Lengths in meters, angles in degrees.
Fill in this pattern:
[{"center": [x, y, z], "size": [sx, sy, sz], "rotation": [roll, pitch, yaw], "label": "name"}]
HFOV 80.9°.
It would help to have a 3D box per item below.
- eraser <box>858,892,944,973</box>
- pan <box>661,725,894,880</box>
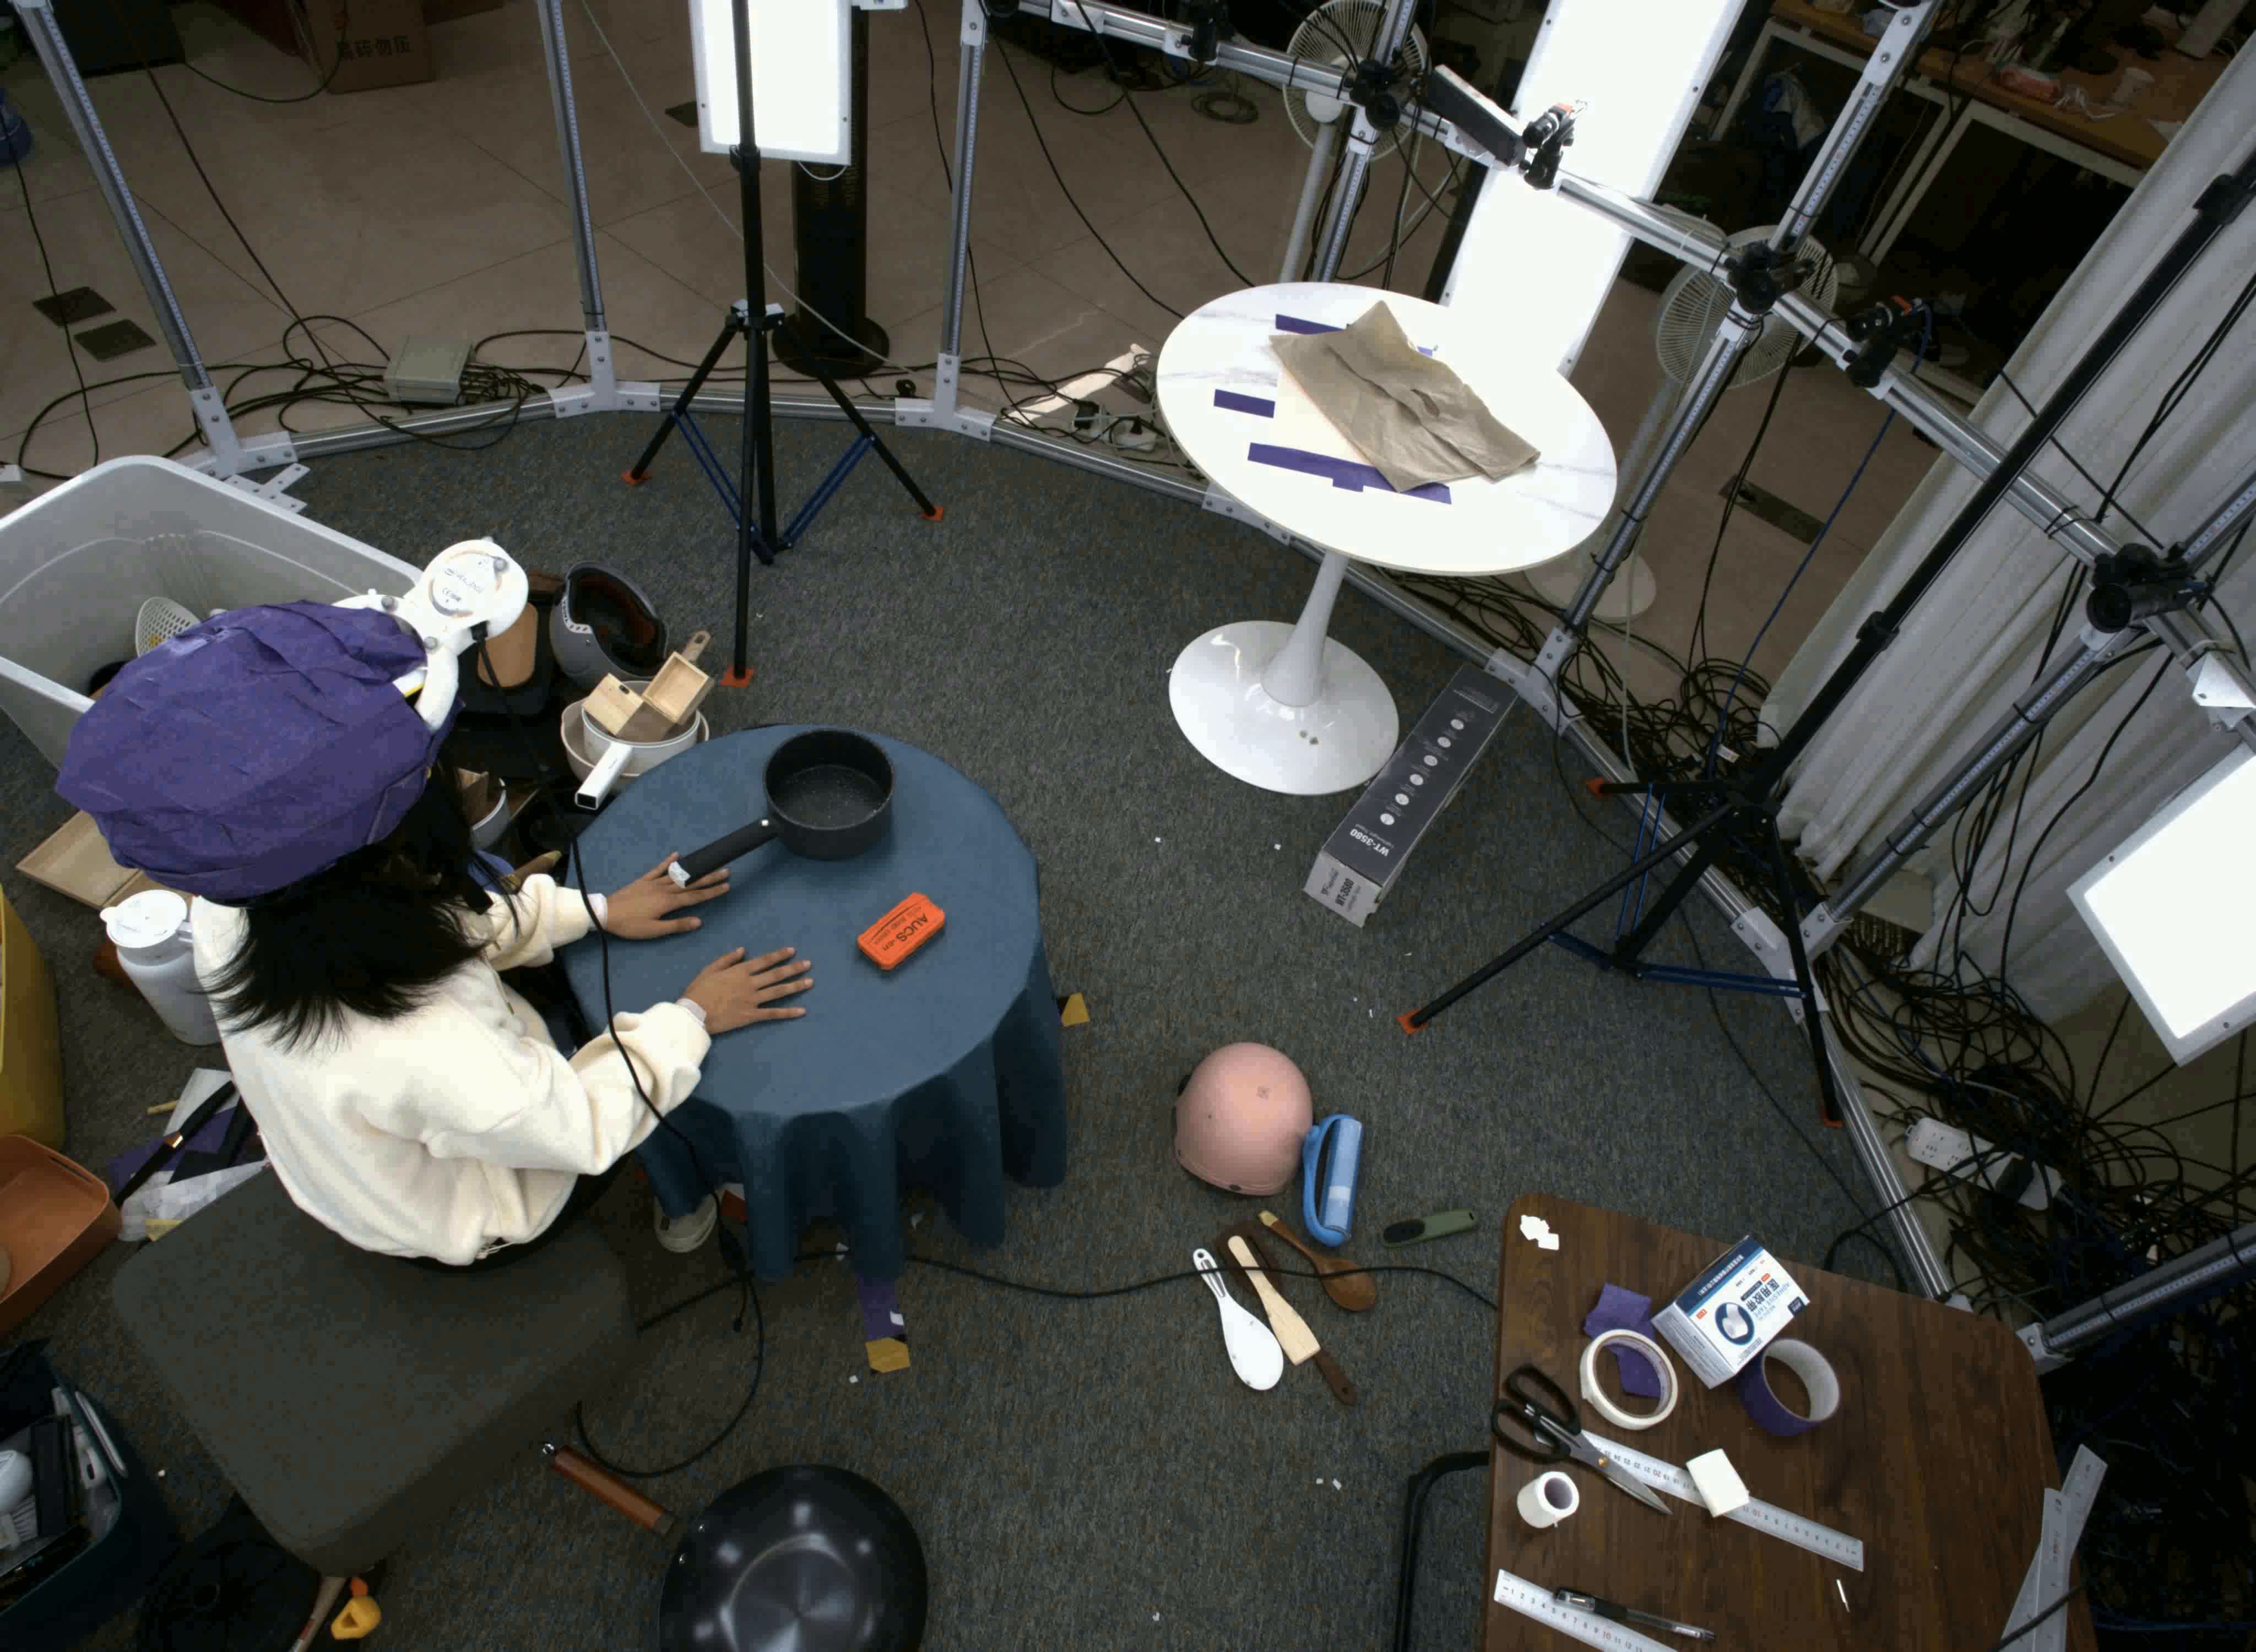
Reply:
[{"center": [-0.286, 0.132, 1.641], "size": [0.058, 0.023, 0.108], "rotation": [39, 54, 15], "label": "eraser"}, {"center": [-0.448, -0.006, 1.662], "size": [0.168, 0.088, 0.329], "rotation": [41, 53, 18], "label": "pan"}]
